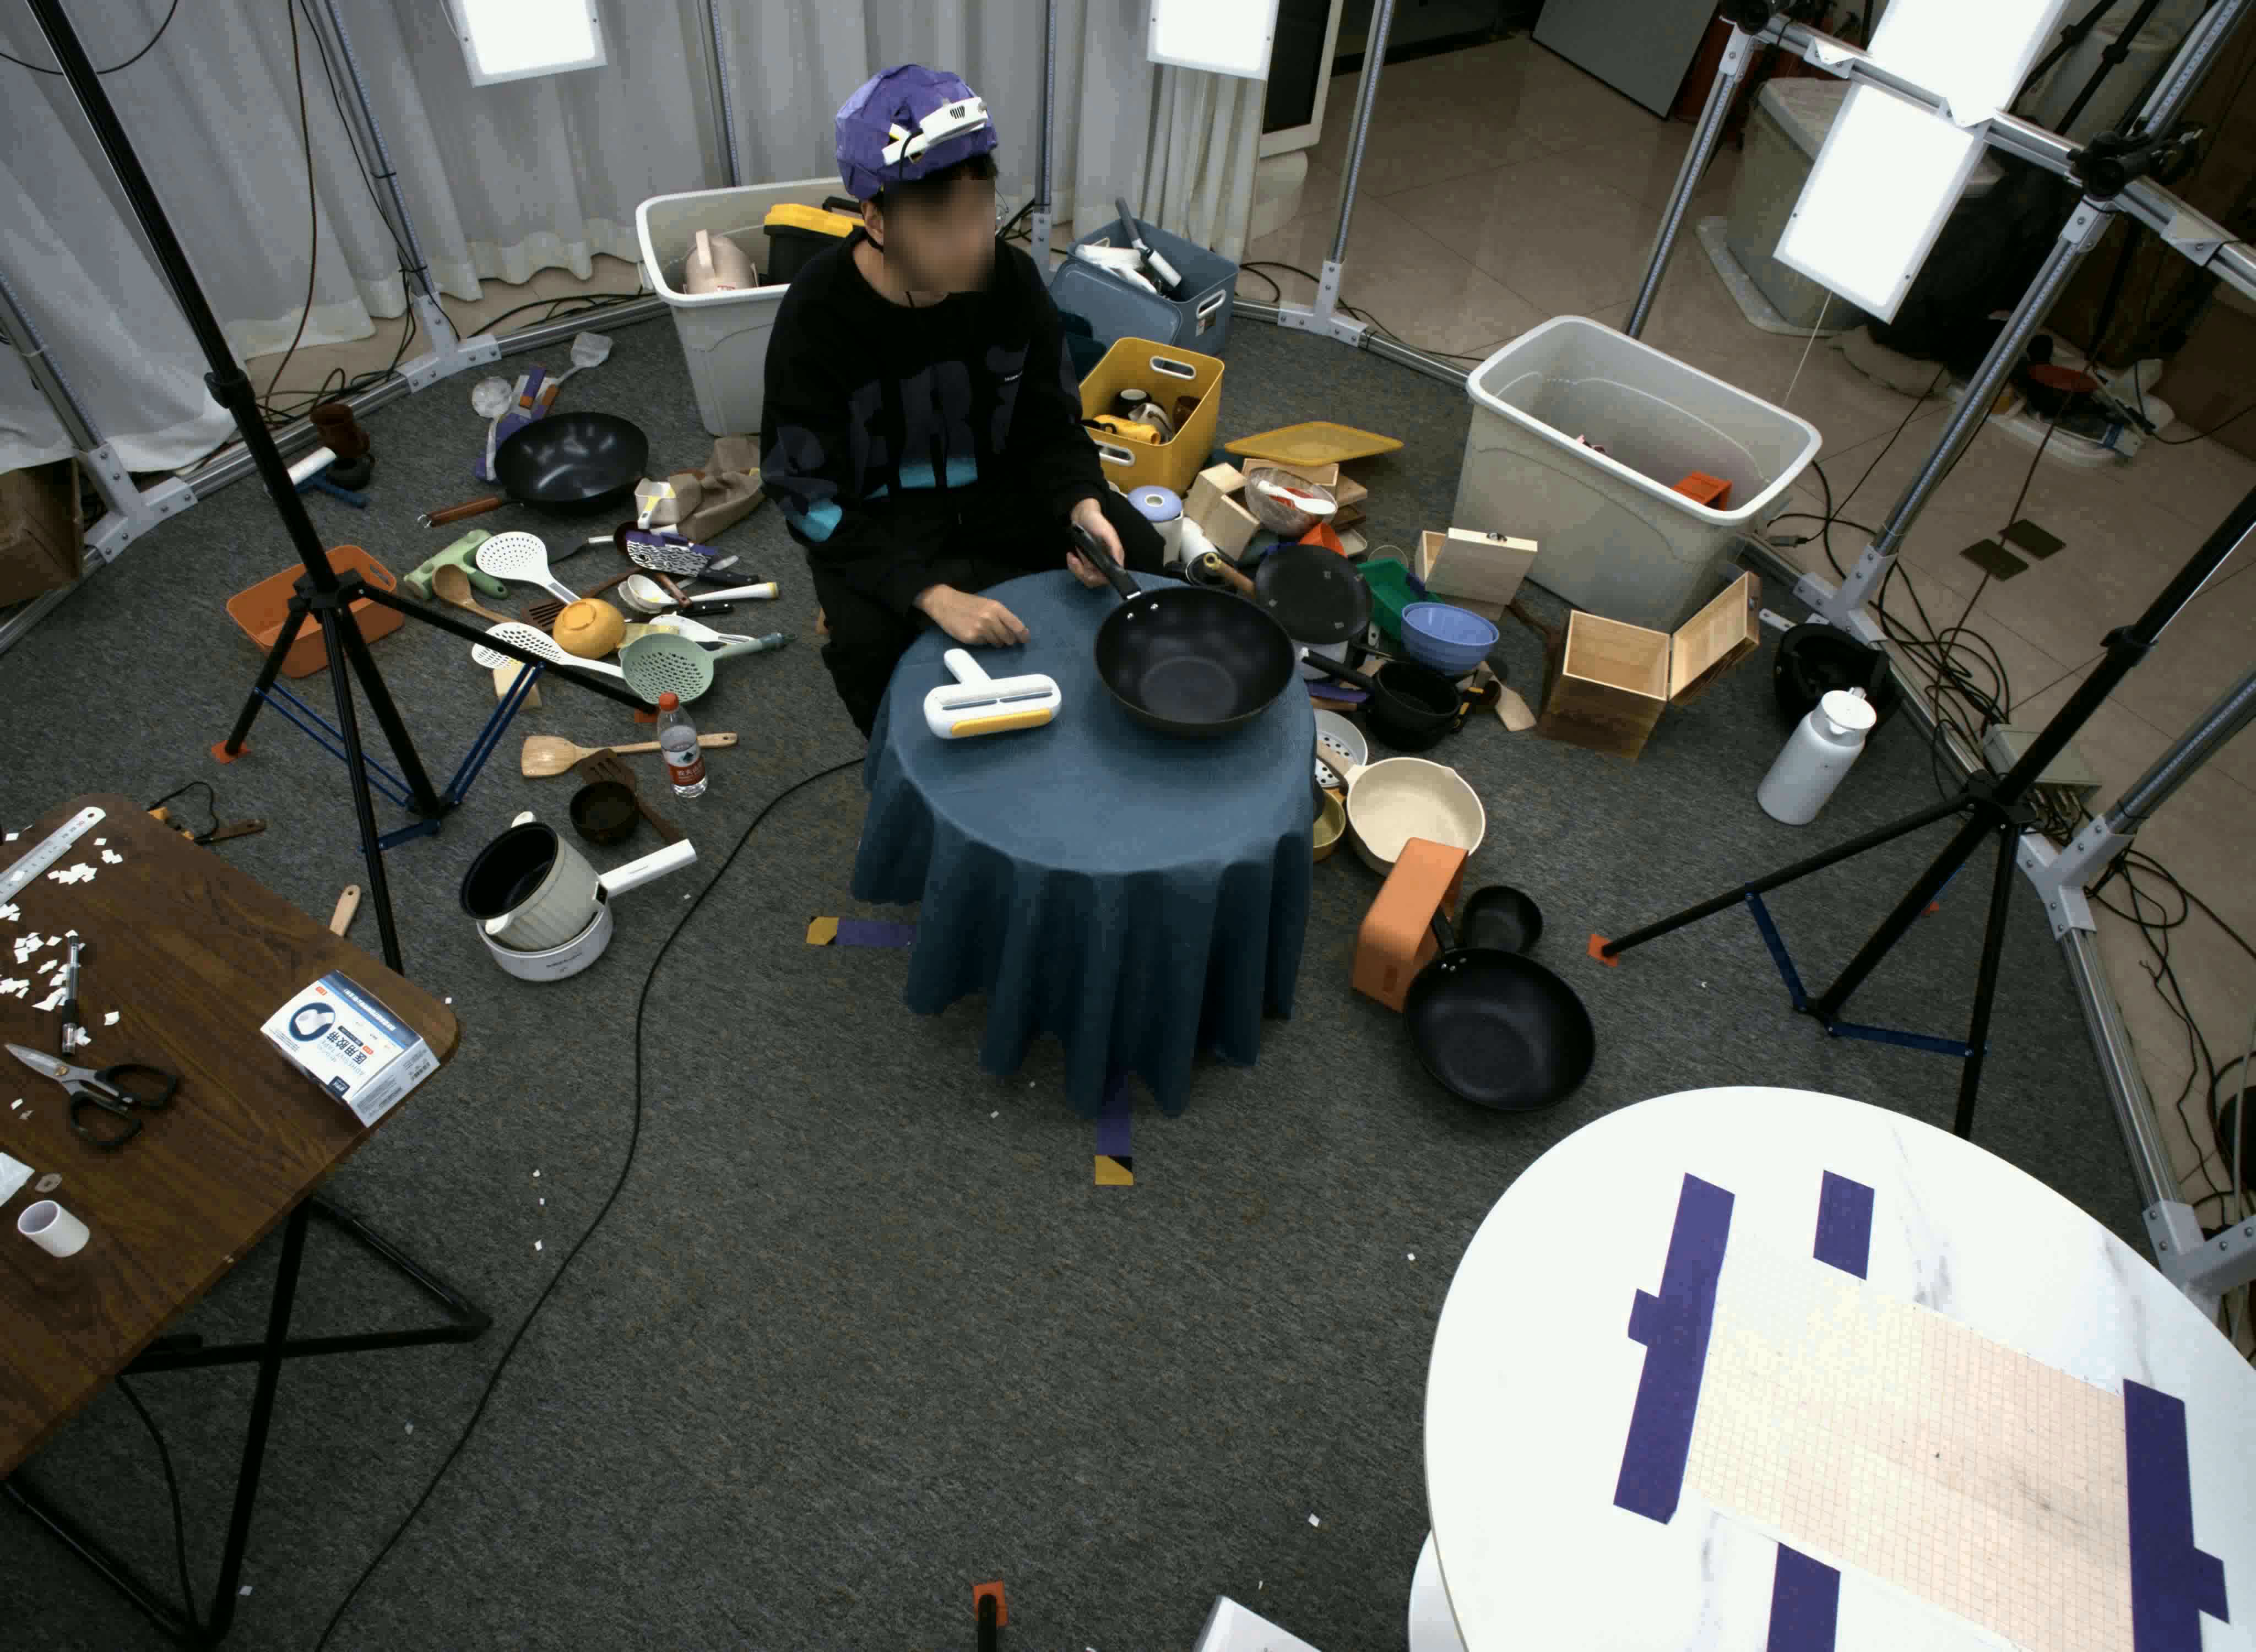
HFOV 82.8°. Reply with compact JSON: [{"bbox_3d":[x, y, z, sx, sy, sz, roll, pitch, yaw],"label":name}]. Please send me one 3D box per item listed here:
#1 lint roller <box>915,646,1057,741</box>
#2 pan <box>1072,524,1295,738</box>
[{"bbox_3d":[-0.211,-0.198,1.782,0.193,0.072,0.197,-11,49,-19],"label":"lint roller"},{"bbox_3d":[0.040,-0.278,1.858,0.289,0.085,0.473,-24,54,-23],"label":"pan"}]
